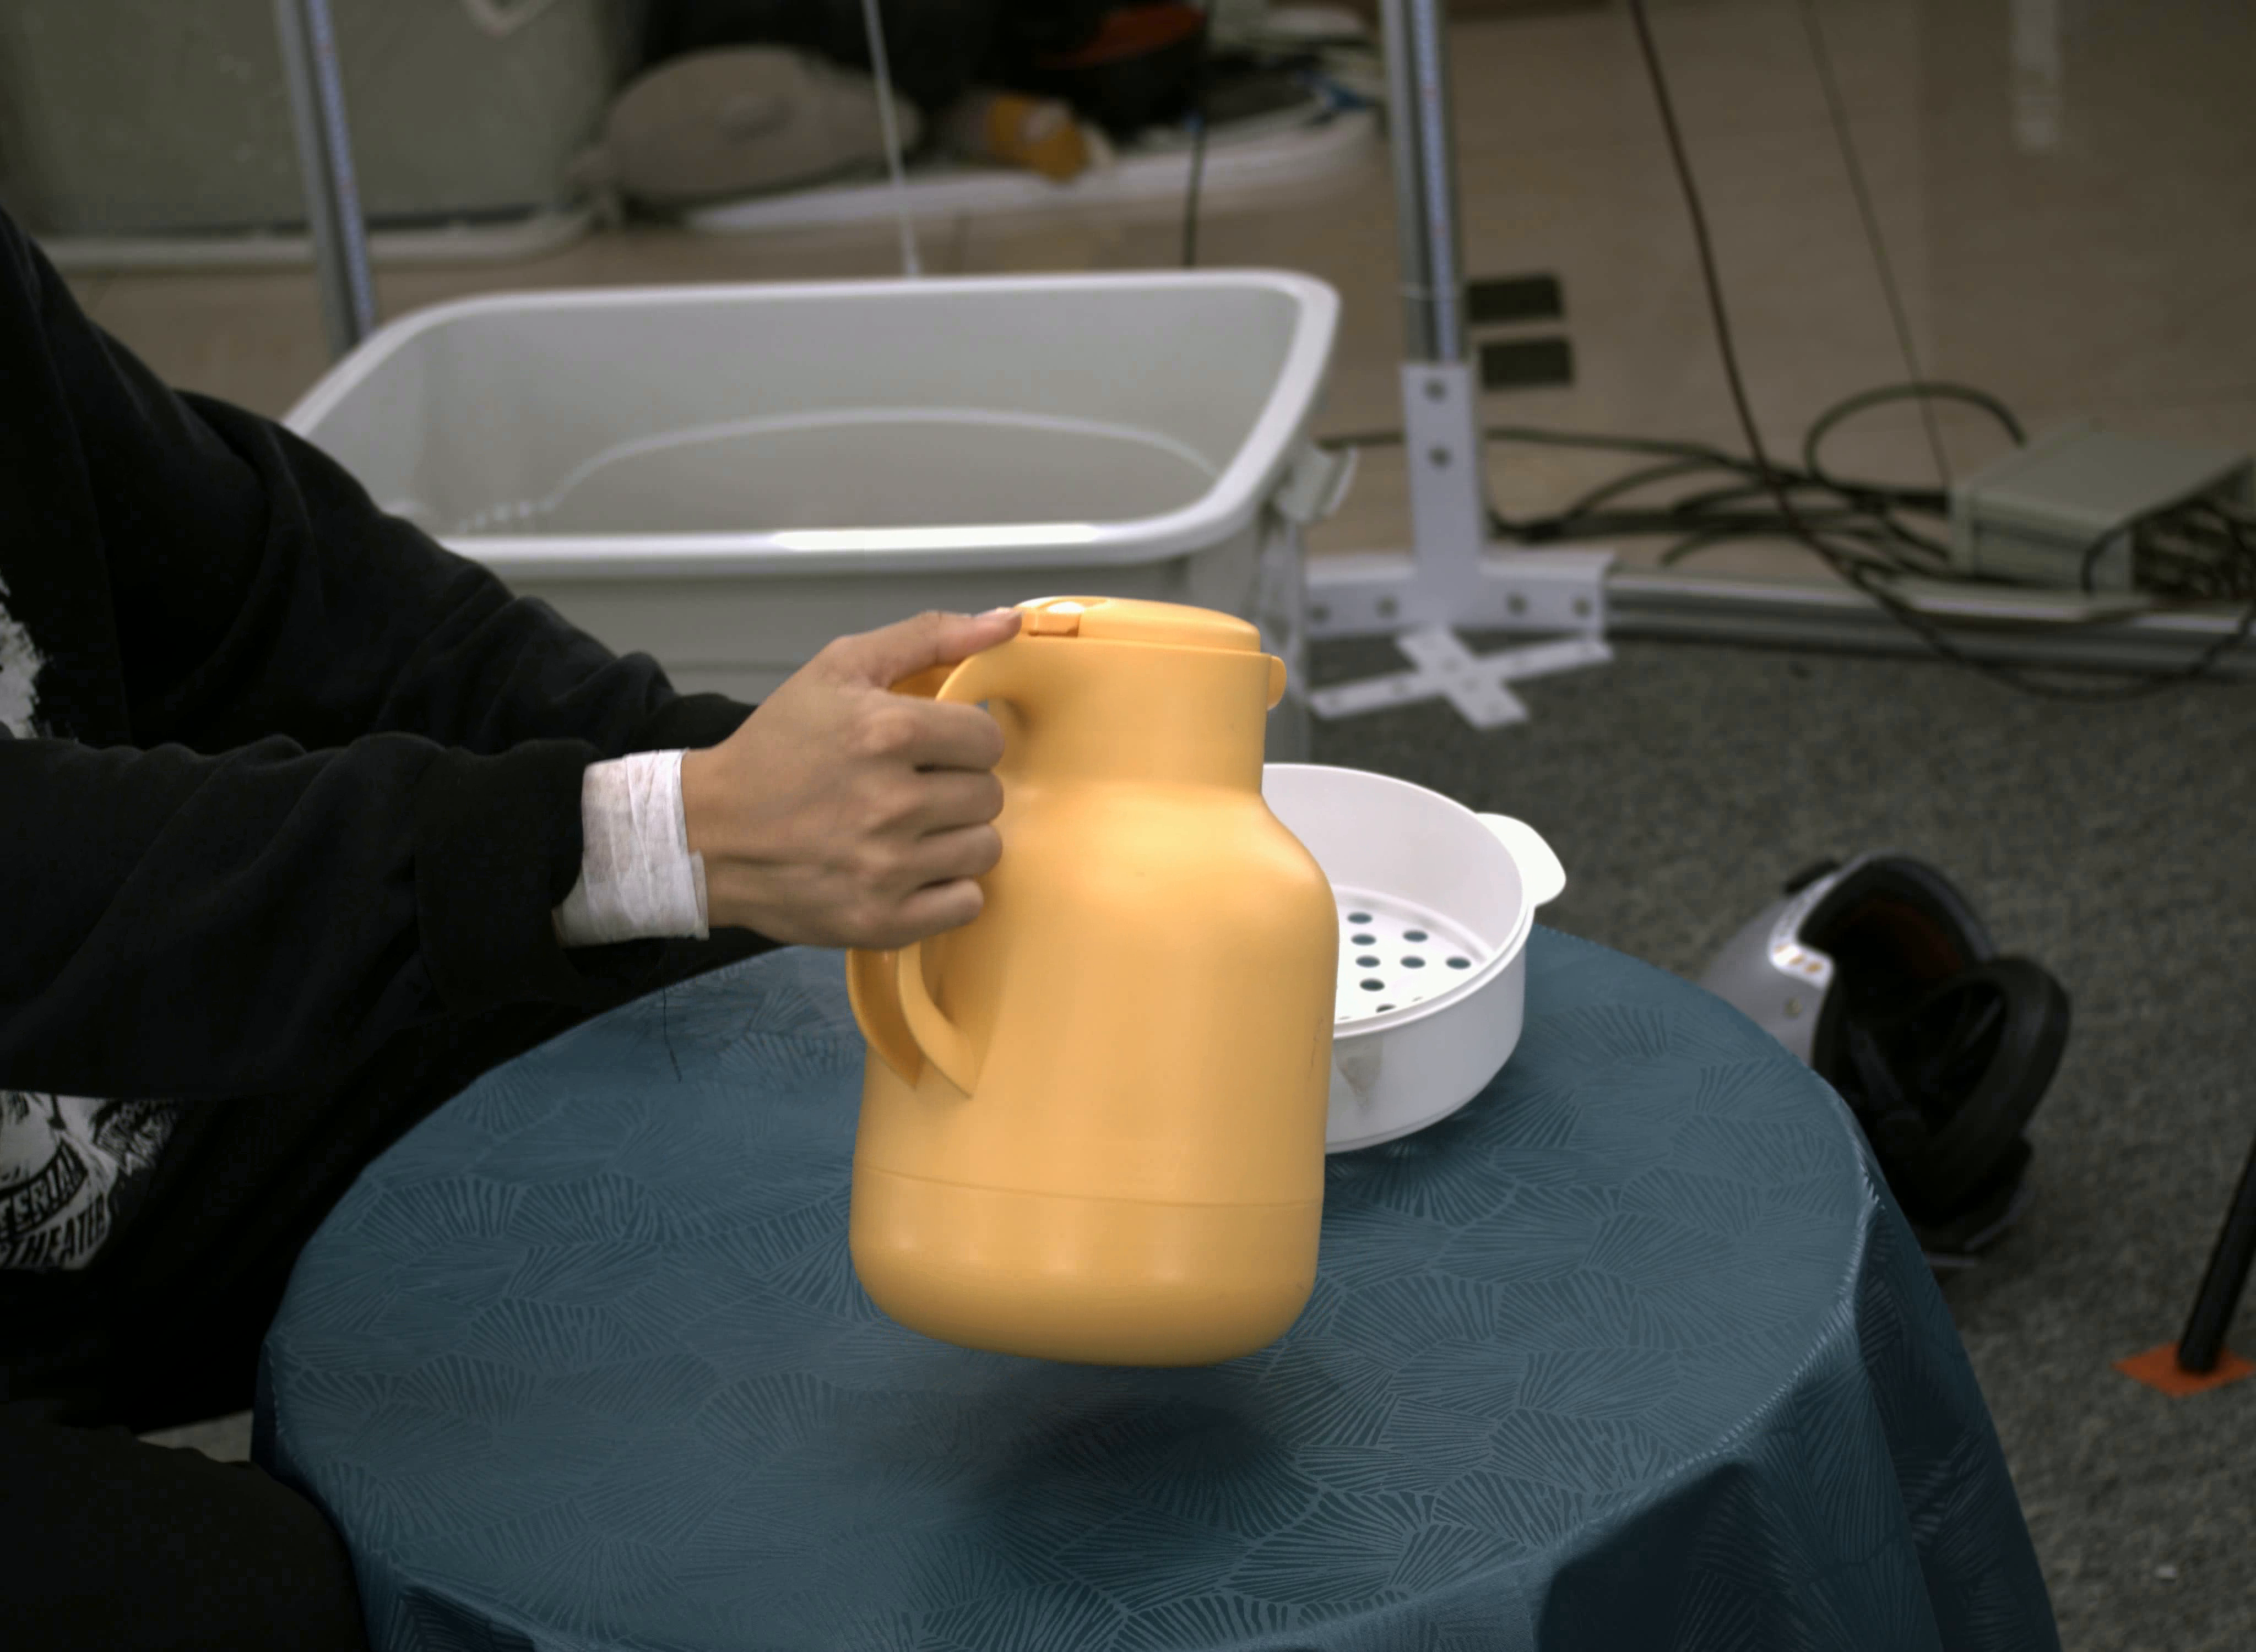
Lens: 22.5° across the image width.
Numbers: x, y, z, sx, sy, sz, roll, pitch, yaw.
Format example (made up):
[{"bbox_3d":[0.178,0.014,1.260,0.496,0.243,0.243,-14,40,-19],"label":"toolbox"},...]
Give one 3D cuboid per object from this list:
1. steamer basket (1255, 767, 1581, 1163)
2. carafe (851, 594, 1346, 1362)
[{"bbox_3d":[0.063,0.054,2.201,0.230,0.070,0.198,-9,33,-14],"label":"steamer basket"},{"bbox_3d":[-0.020,0.050,1.945,0.163,0.261,0.202,4,0,42],"label":"carafe"}]
